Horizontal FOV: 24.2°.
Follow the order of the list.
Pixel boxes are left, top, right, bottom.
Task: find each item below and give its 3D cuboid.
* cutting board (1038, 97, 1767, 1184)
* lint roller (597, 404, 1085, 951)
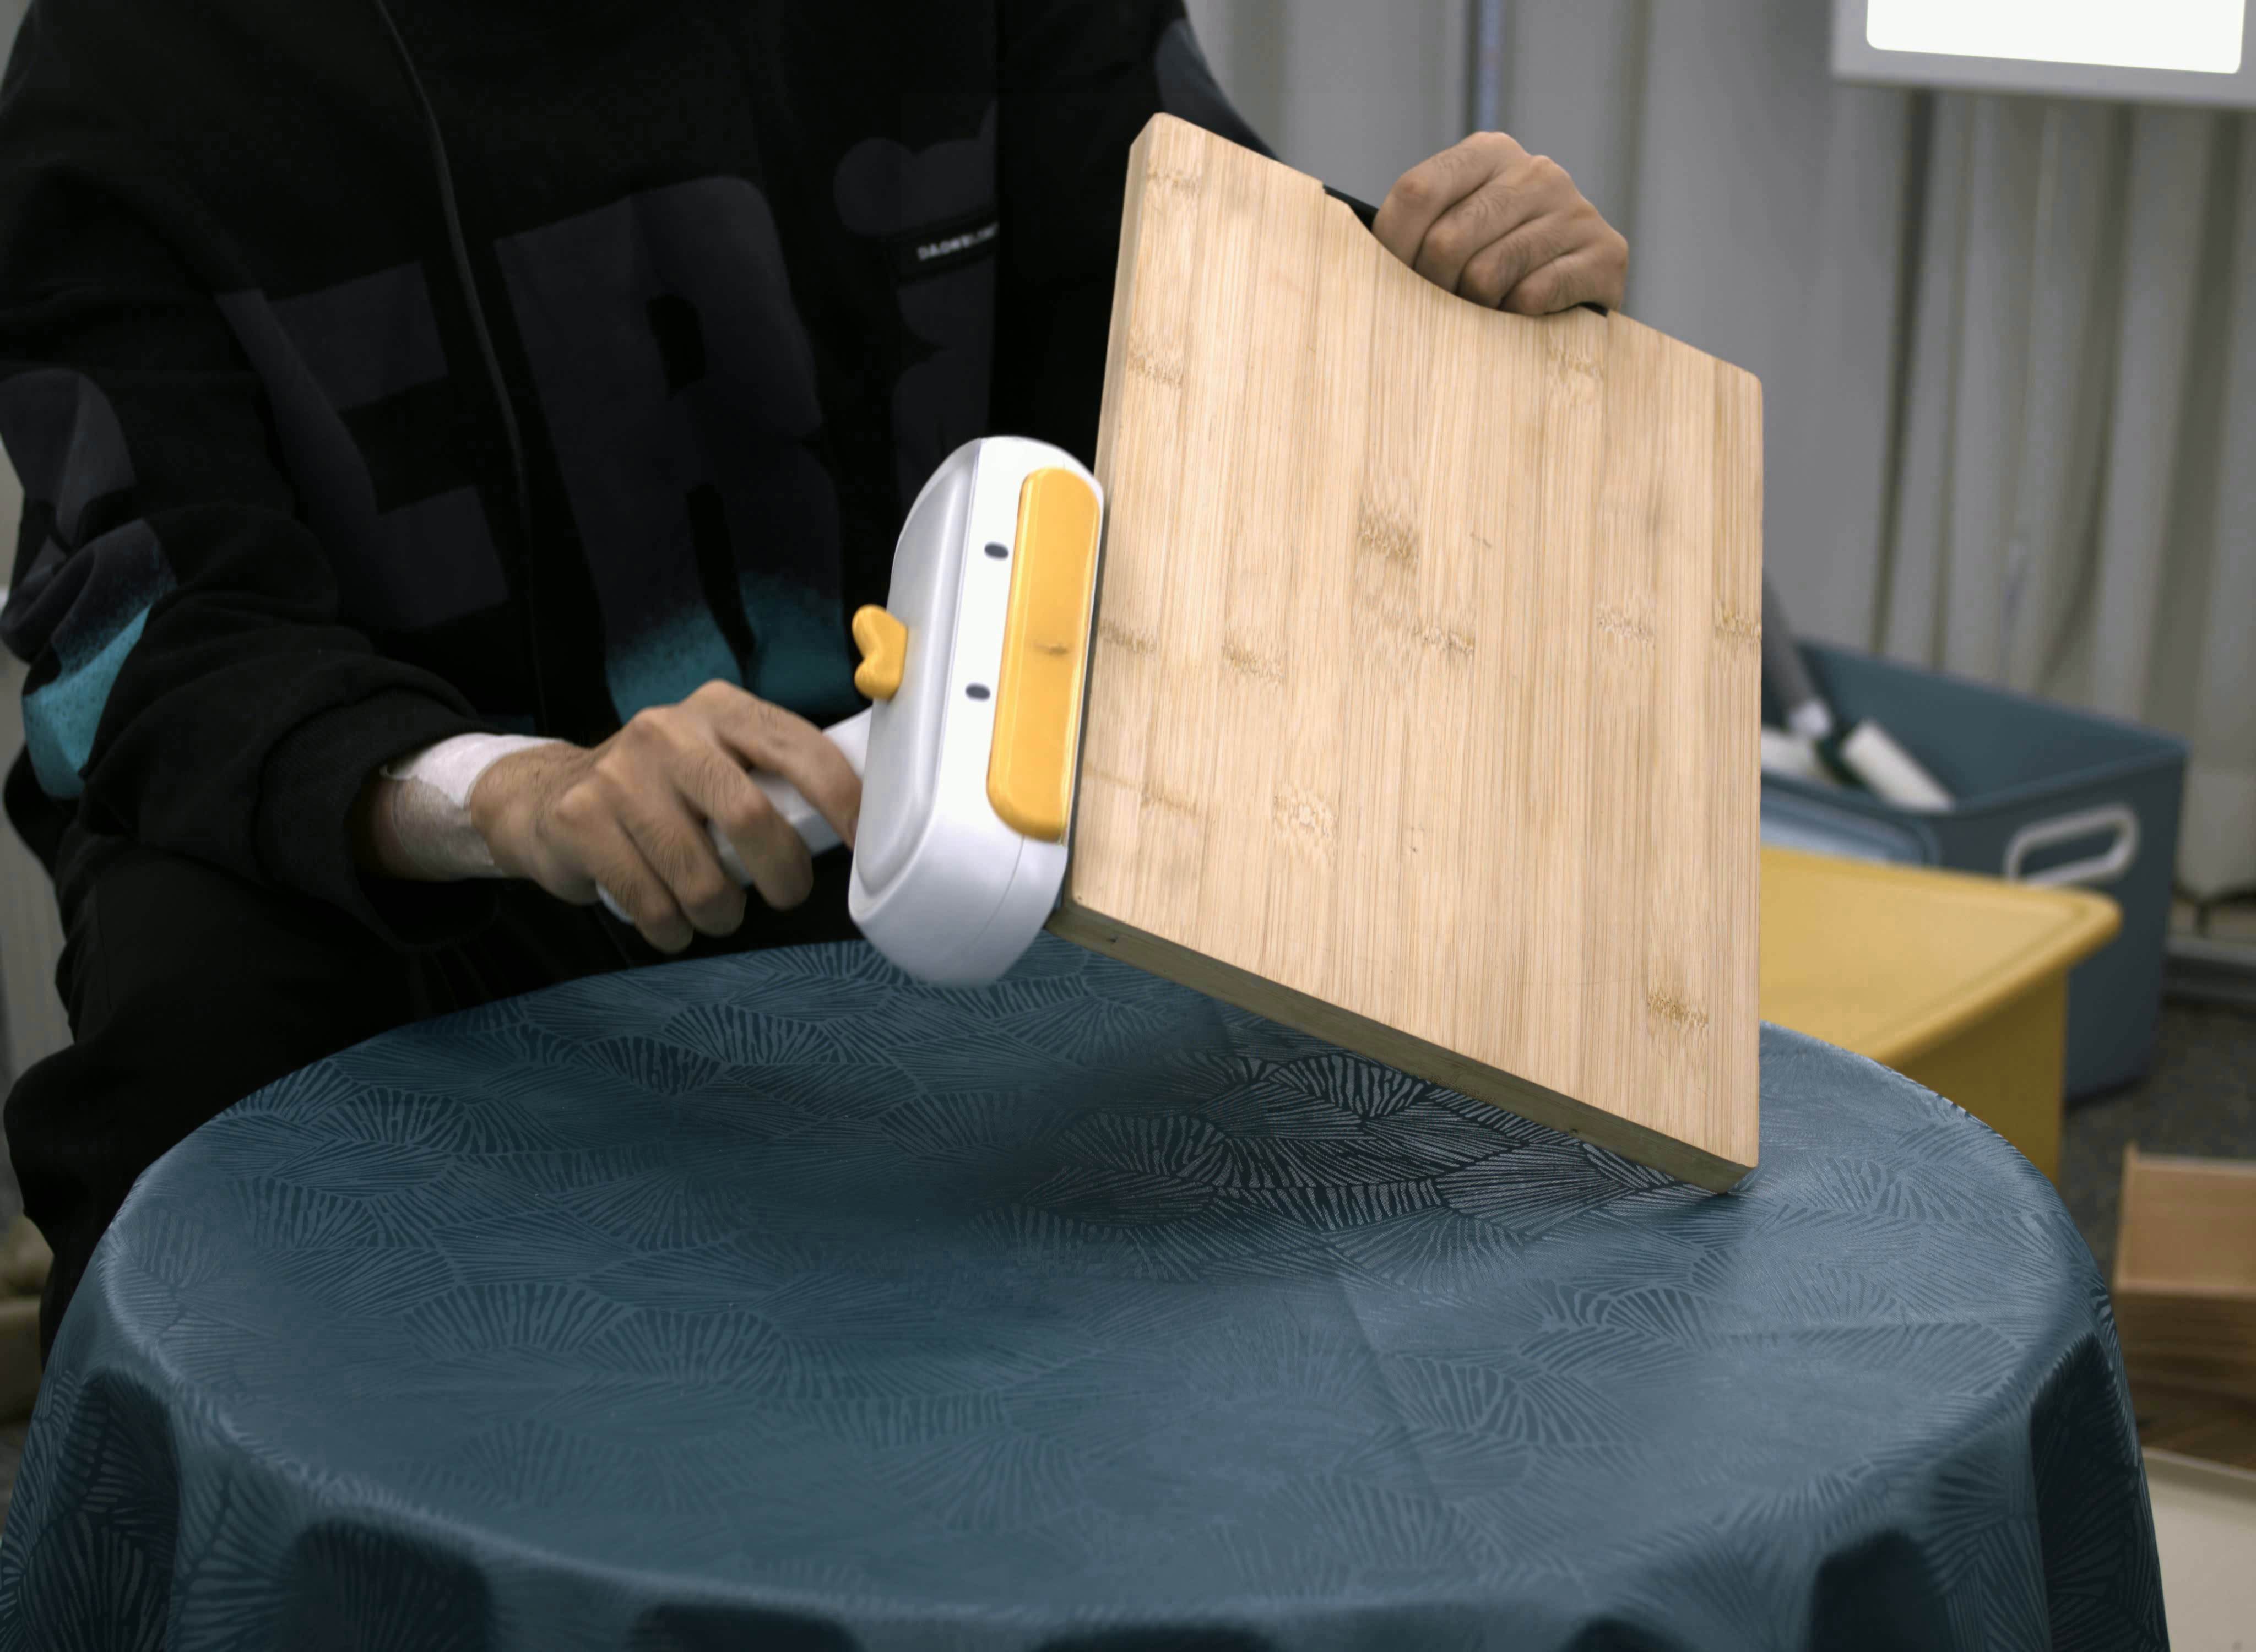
[{"bbox_3d":[0.097,-0.066,1.688,0.252,0.023,0.346,22,48,-20],"label":"cutting board"},{"bbox_3d":[-0.087,-0.019,1.618,0.075,0.192,0.191,27,42,-30],"label":"lint roller"}]
